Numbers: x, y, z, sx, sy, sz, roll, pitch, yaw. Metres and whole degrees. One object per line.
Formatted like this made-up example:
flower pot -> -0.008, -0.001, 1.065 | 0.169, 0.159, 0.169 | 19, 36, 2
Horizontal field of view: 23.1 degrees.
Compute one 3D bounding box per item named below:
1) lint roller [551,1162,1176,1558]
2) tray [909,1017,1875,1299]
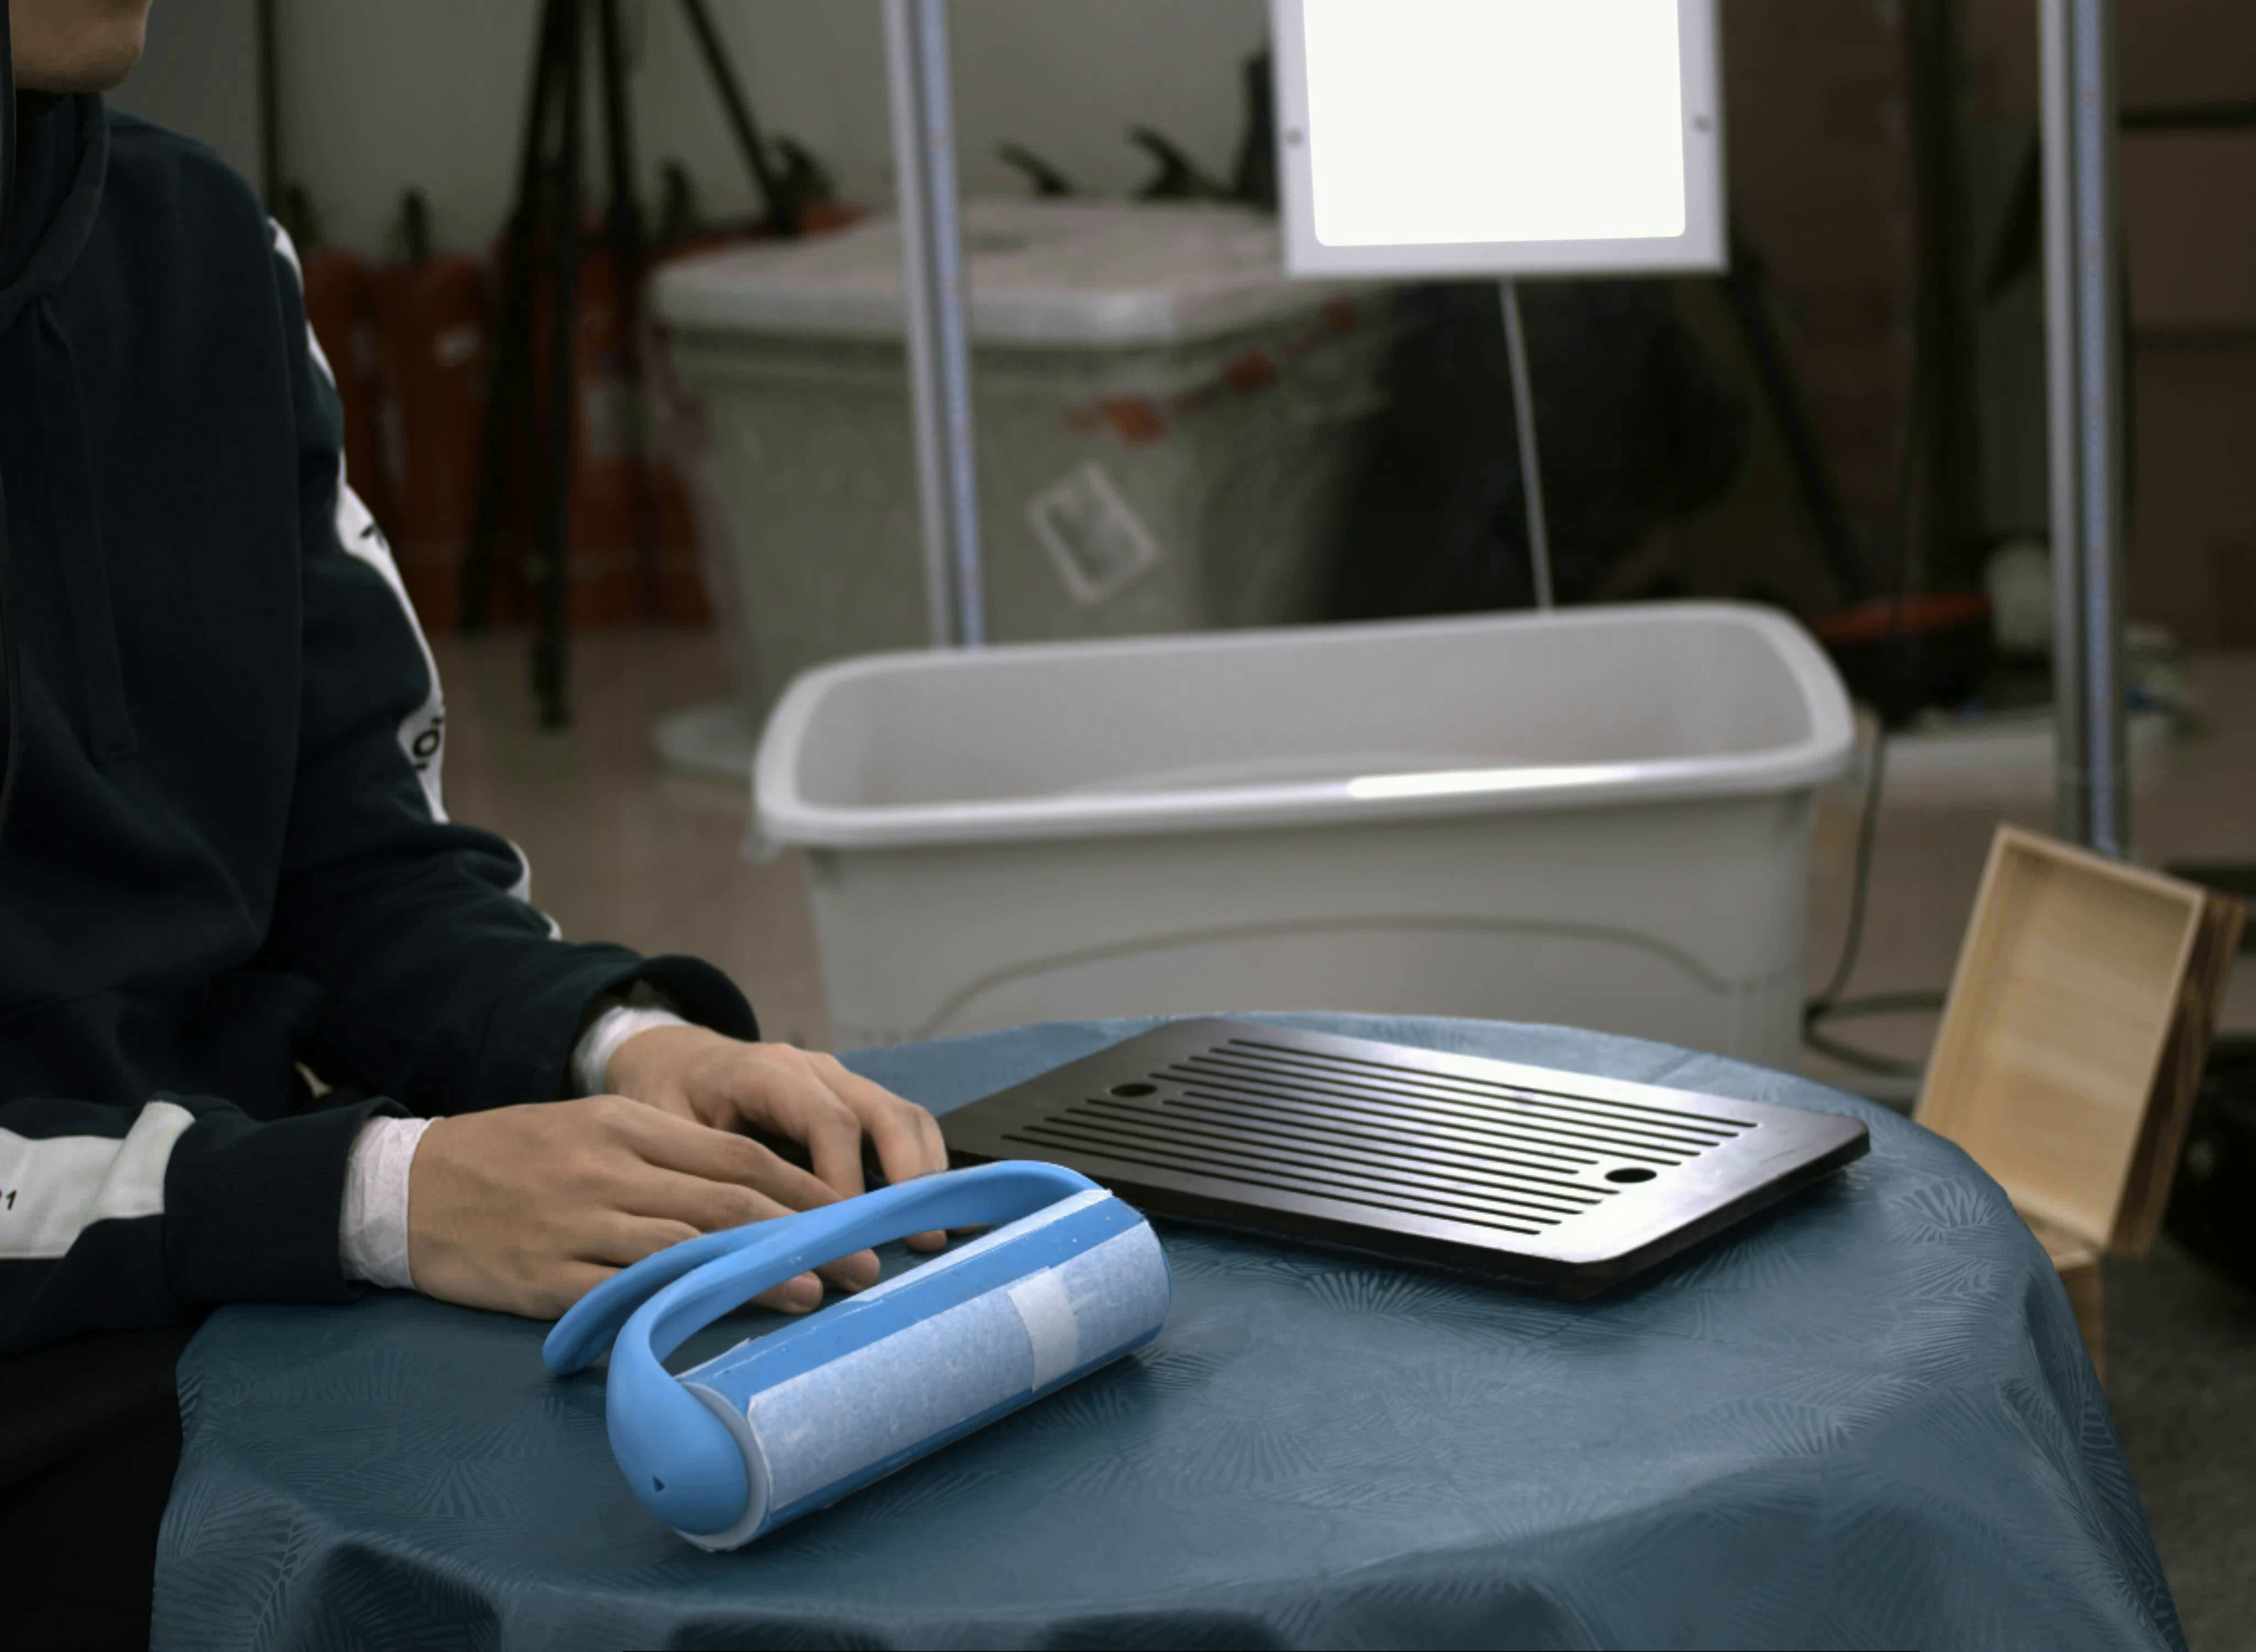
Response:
lint roller -> -0.111, 0.156, 1.697 | 0.184, 0.068, 0.223 | 7, 20, 36
tray -> 0.088, 0.111, 1.887 | 0.312, 0.019, 0.166 | 7, 18, 41
